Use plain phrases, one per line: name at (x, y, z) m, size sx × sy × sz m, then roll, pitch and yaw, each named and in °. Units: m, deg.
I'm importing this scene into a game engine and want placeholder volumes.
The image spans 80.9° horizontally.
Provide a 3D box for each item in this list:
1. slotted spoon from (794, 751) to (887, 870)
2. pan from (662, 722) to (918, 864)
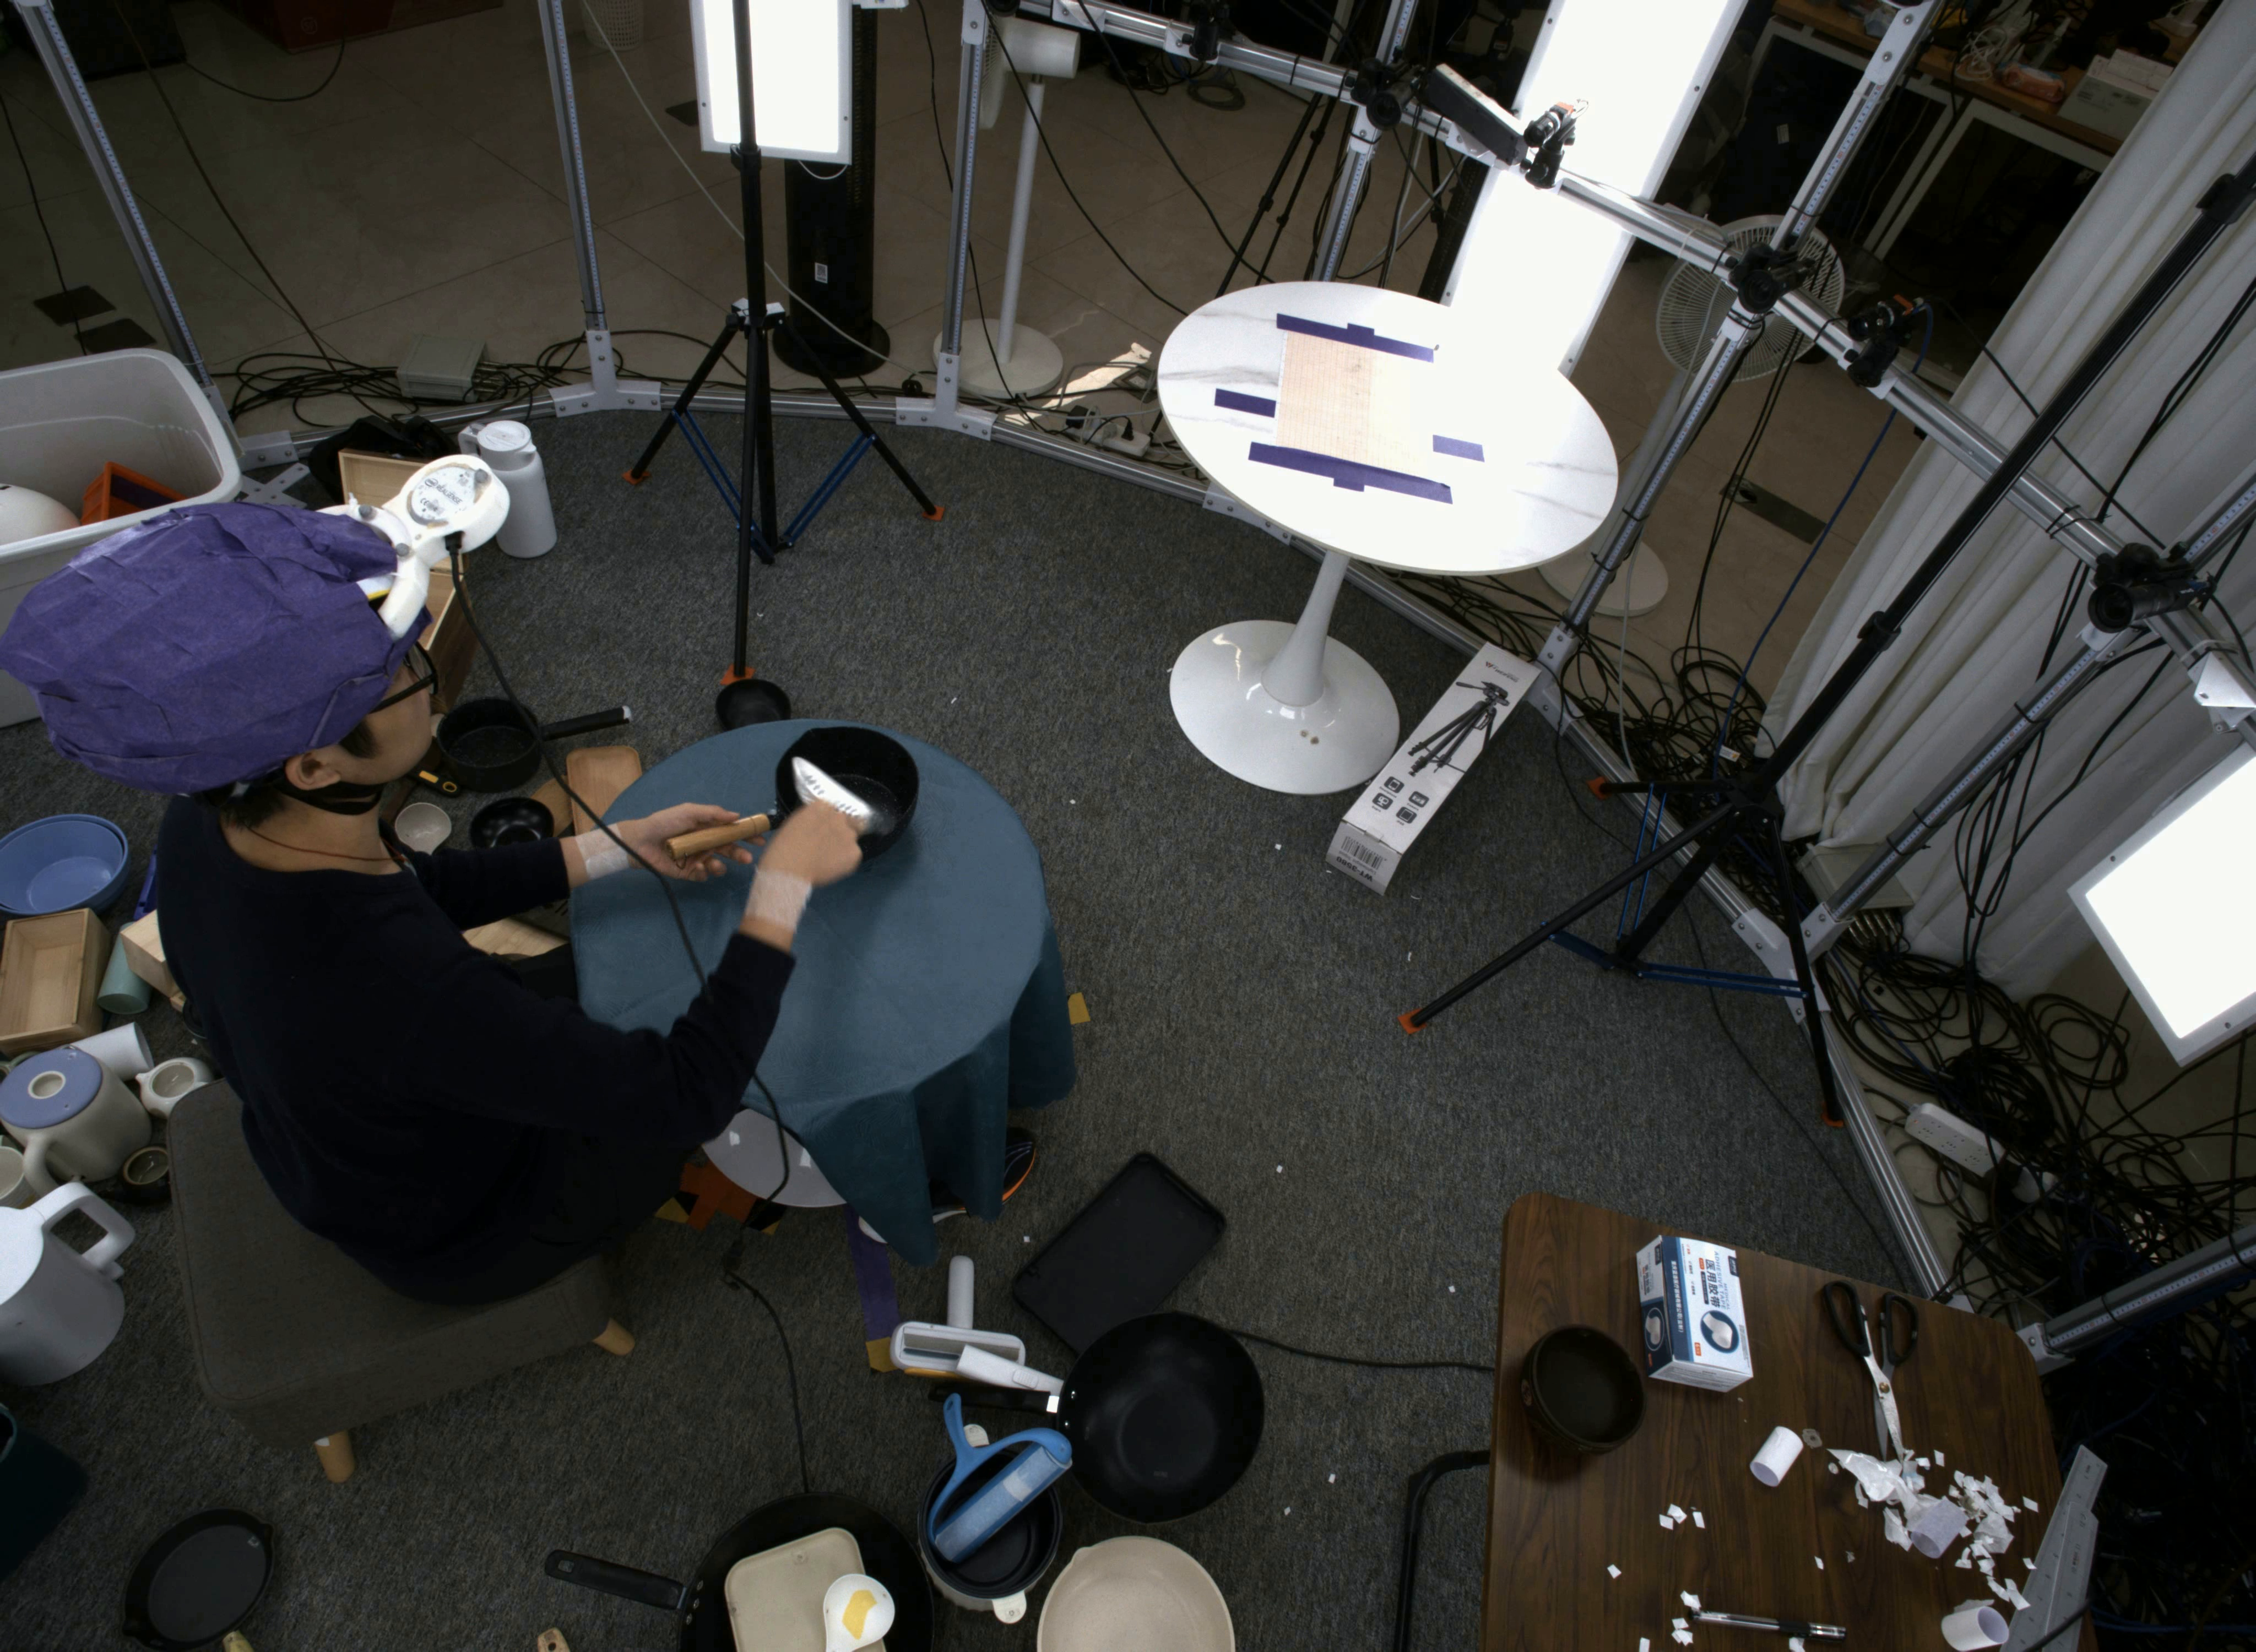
slotted spoon at (-0.340, -0.013, 1.497) m, size 0.139 × 0.340 × 0.050 m, roll 38°, pitch 90°, yaw -18°
pan at (-0.428, -0.012, 1.652) m, size 0.344 × 0.110 × 0.203 m, roll -28°, pitch 65°, yaw -32°
